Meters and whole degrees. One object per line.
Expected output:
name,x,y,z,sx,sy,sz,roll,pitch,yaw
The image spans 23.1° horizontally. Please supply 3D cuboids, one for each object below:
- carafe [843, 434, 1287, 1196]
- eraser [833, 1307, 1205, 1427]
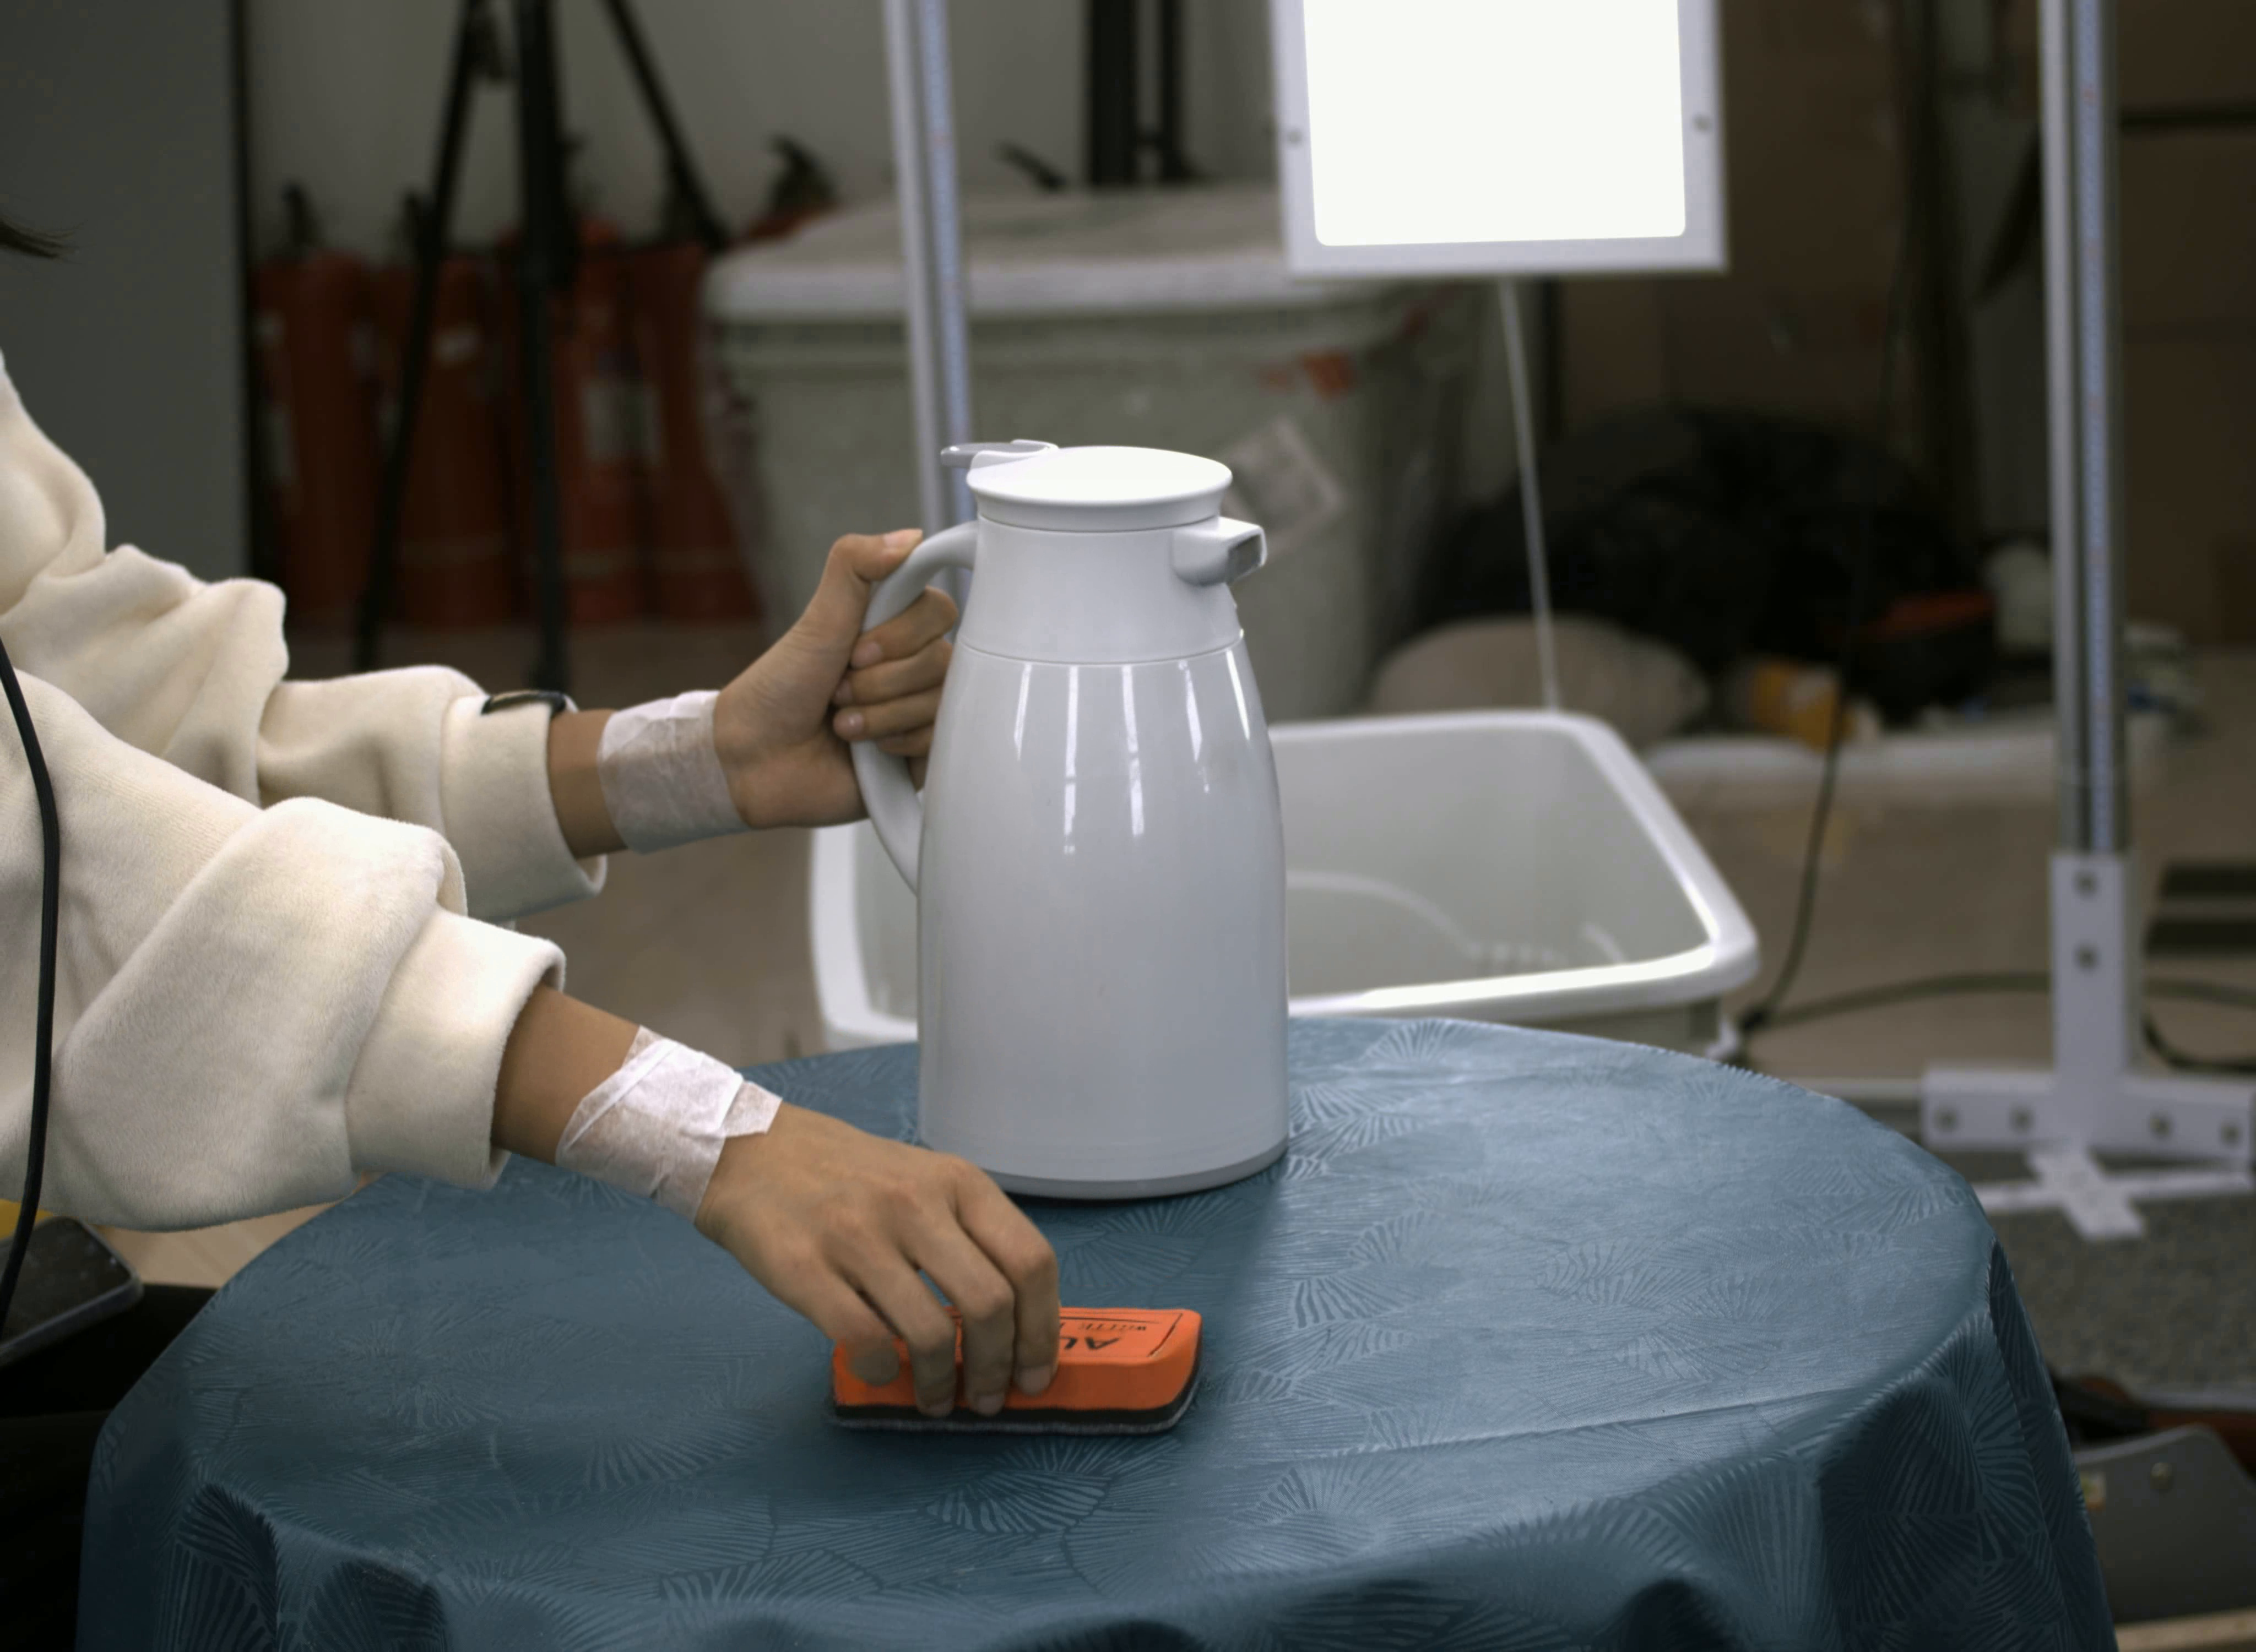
carafe,-0.026,-0.011,1.922,0.171,0.250,0.129,8,16,33
eraser,-0.033,0.166,1.695,0.109,0.023,0.058,-1,10,18
